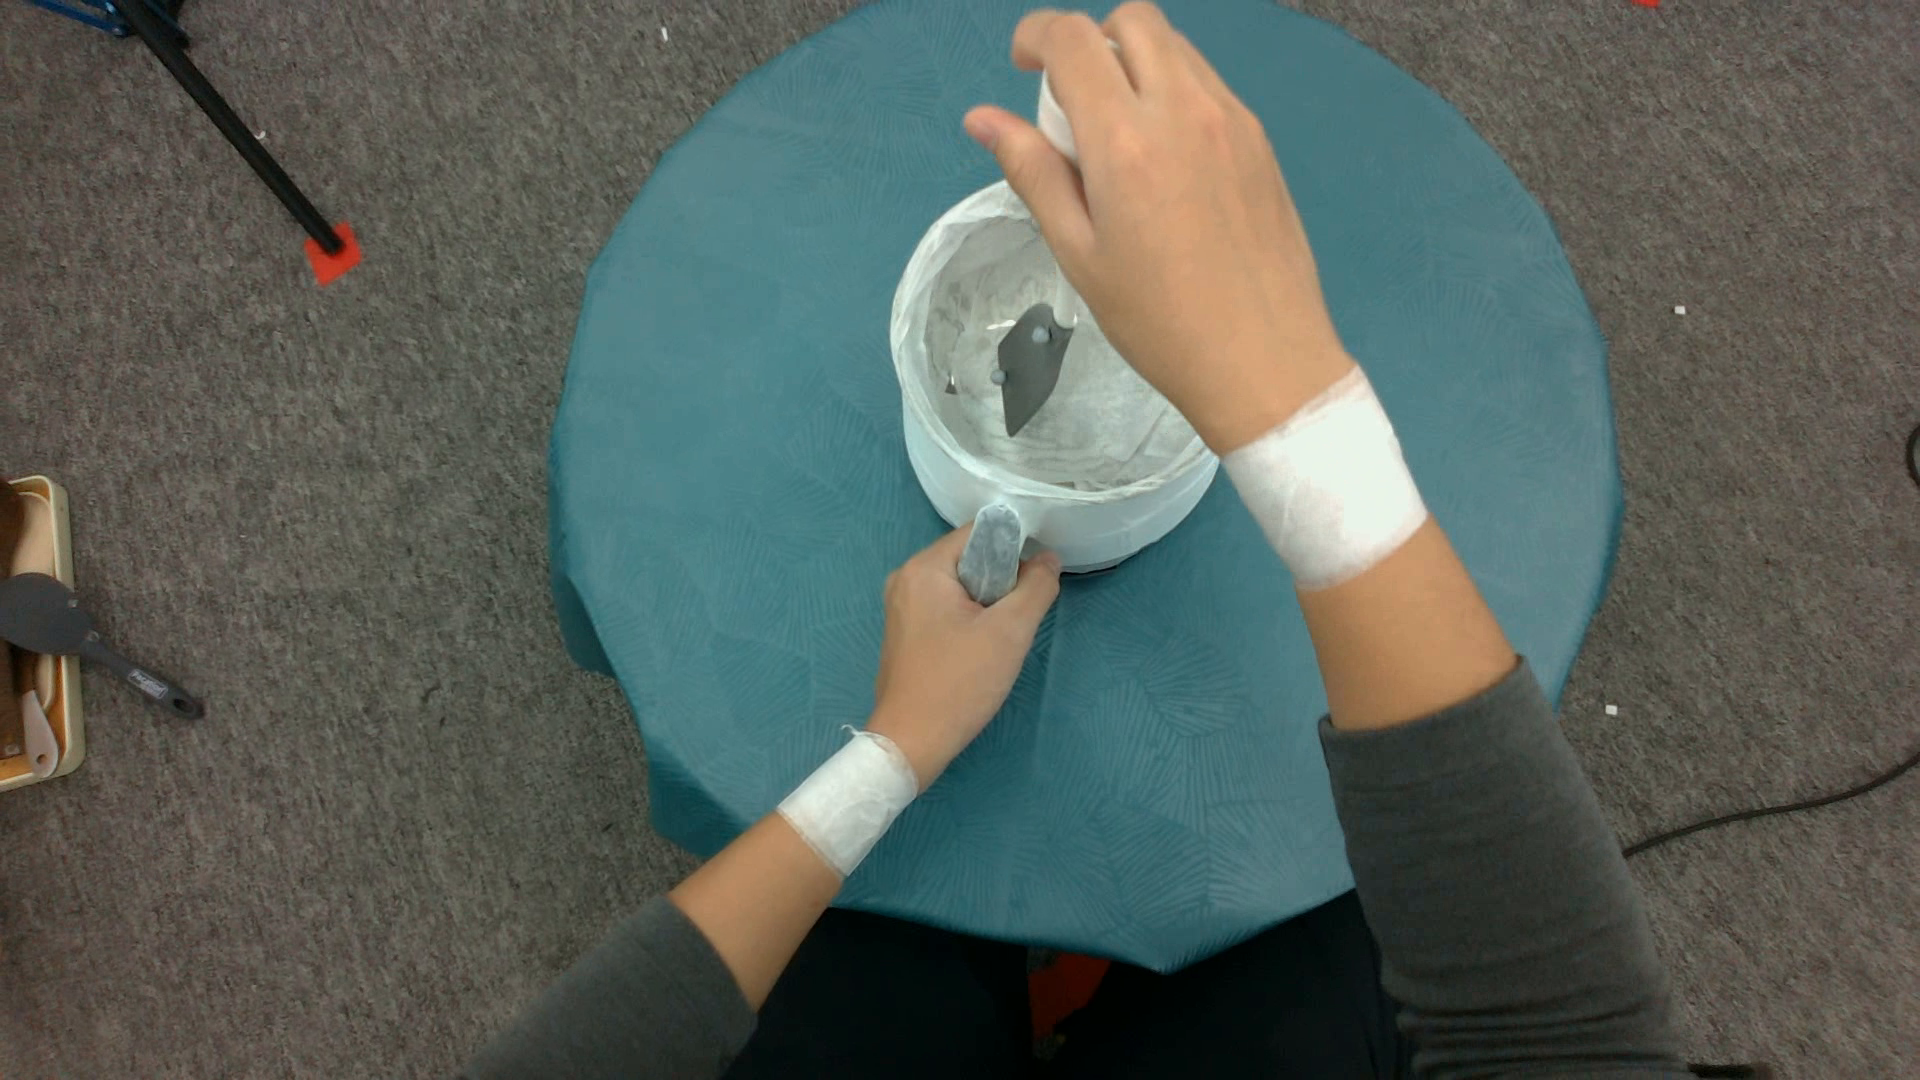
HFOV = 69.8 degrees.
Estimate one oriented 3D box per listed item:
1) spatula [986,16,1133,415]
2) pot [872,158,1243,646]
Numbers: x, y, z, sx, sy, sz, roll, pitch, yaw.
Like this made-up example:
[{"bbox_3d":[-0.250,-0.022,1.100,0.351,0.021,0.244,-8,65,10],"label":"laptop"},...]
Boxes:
[{"bbox_3d":[0.032,-0.122,0.582,0.032,0.287,0.059,-4,77,-5],"label":"spatula"},{"bbox_3d":[0.038,-0.063,0.709,0.178,0.136,0.234,18,73,6],"label":"pot"}]
